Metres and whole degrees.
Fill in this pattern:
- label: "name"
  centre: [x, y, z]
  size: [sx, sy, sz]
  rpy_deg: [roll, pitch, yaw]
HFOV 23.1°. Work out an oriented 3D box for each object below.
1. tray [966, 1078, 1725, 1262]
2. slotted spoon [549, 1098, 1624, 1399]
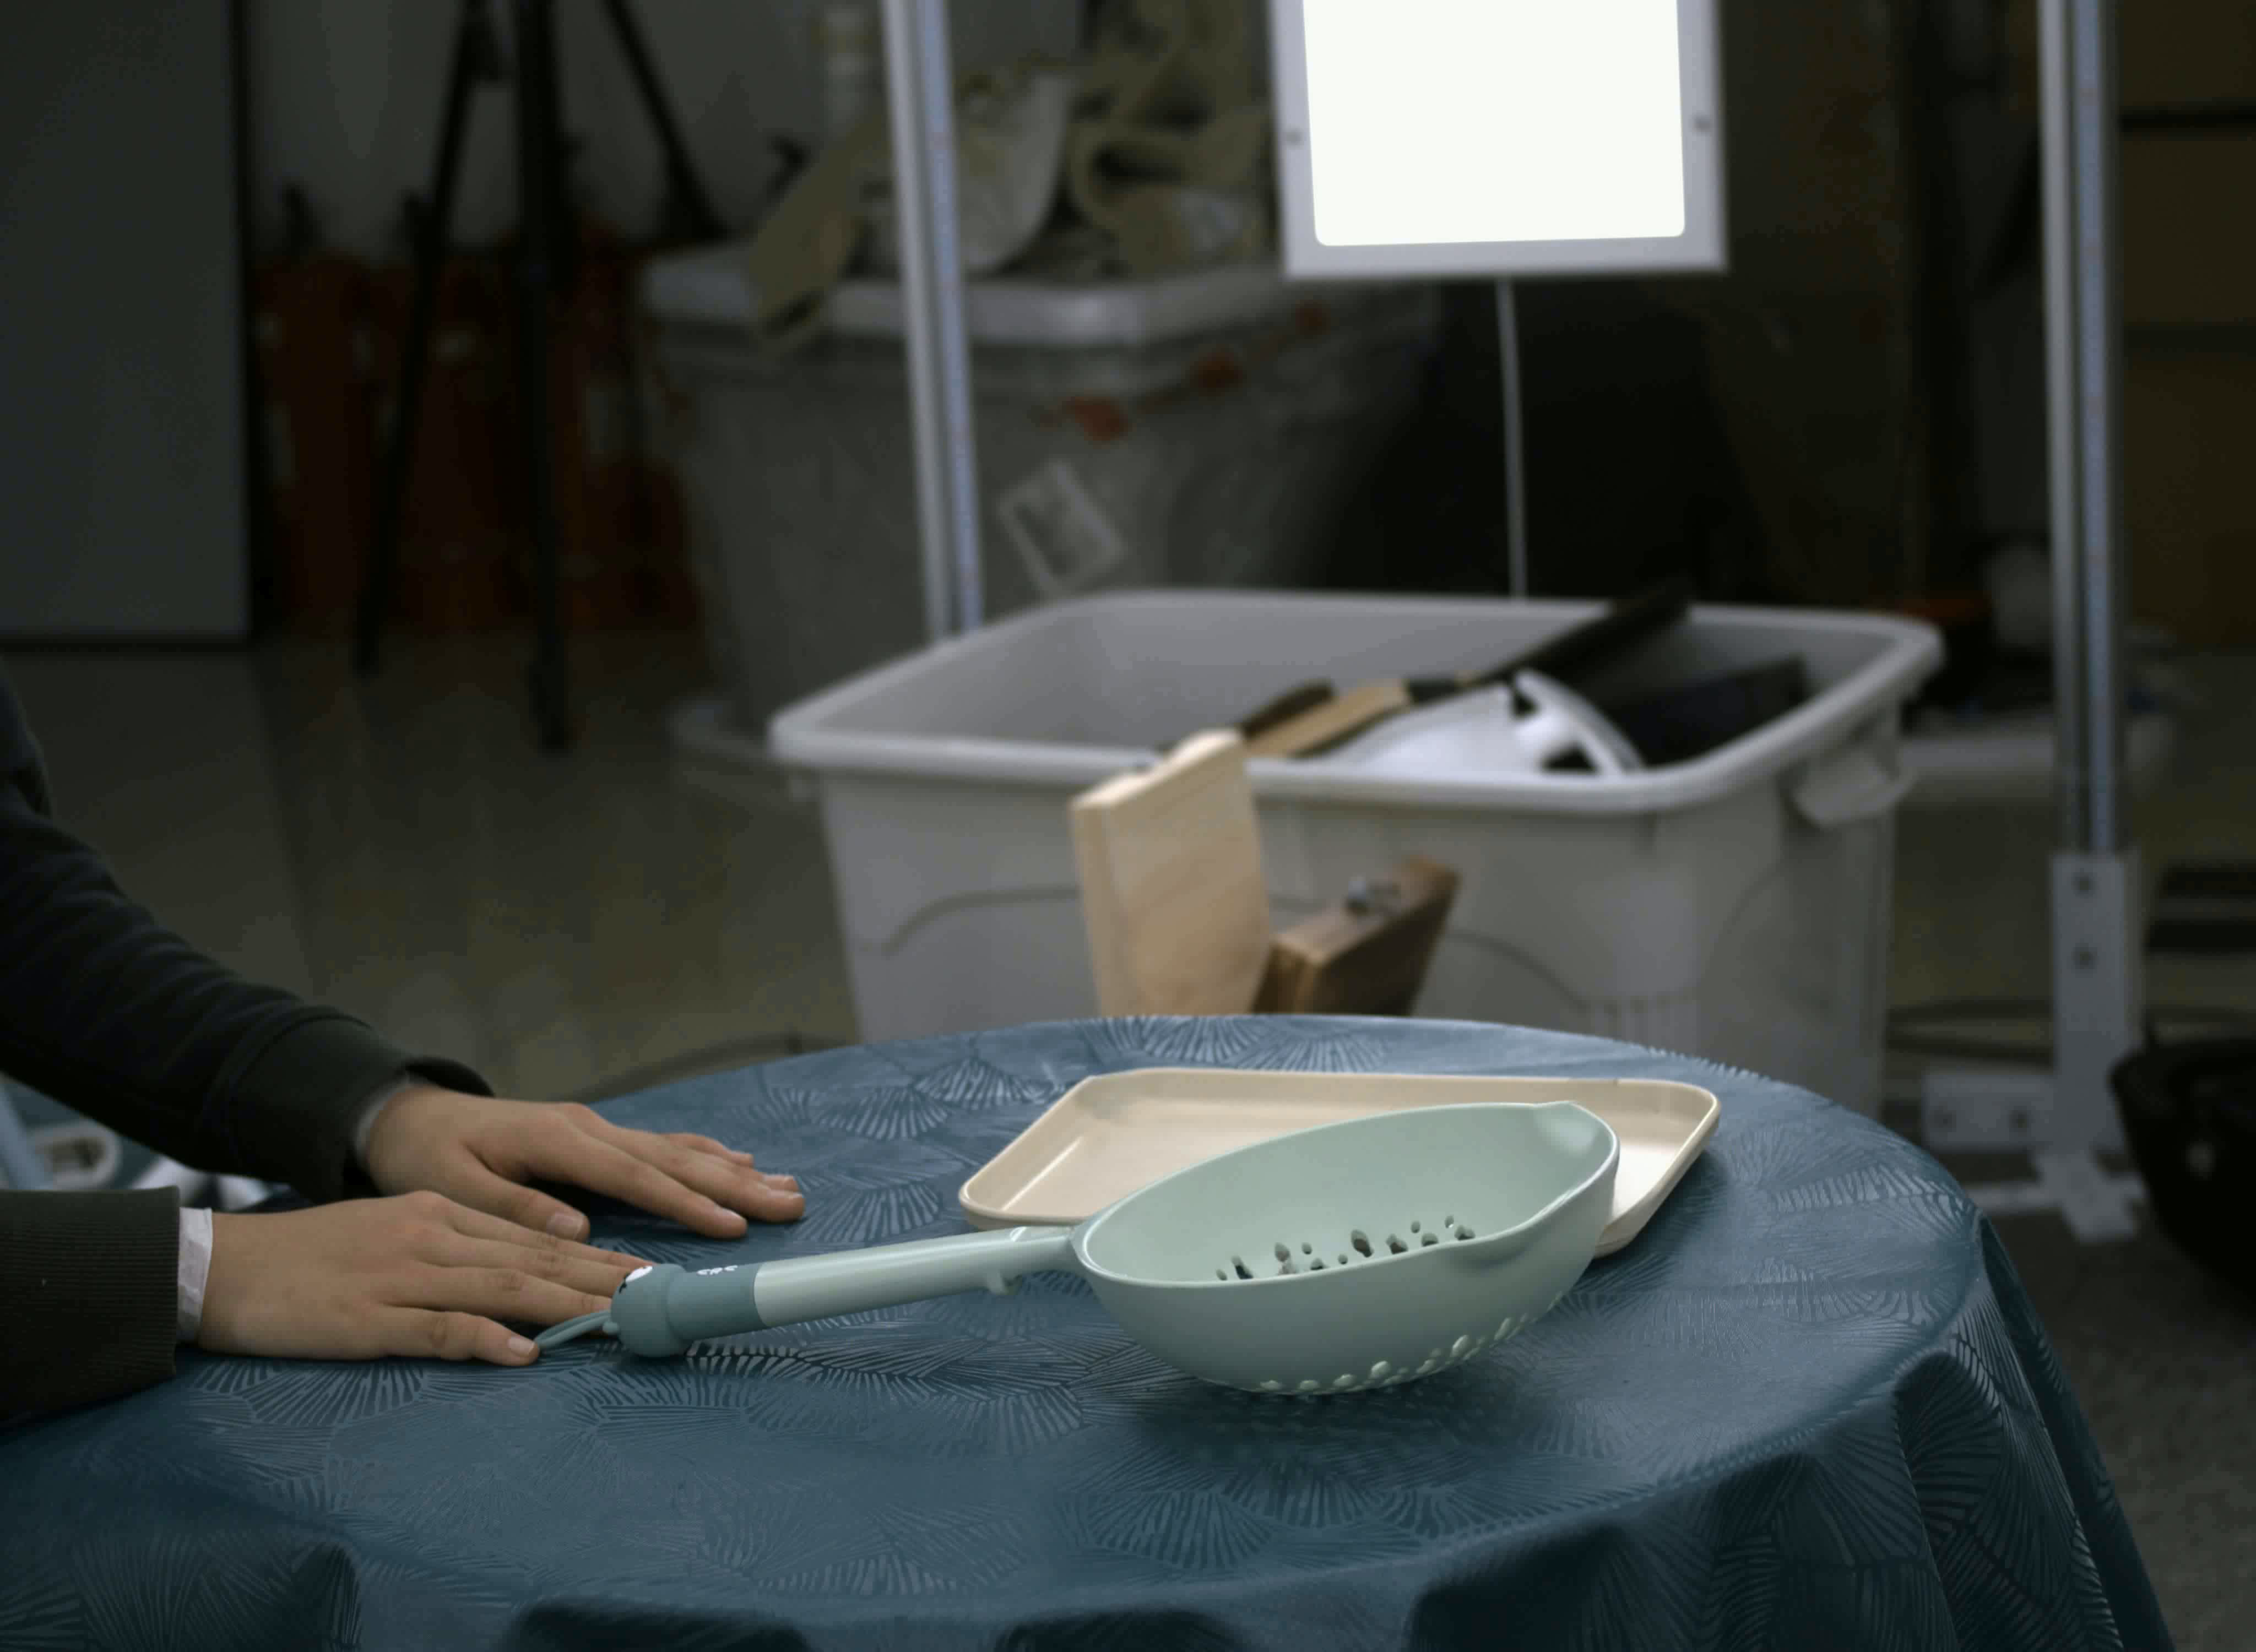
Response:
- label: "tray"
  centre: [0.076, 0.117, 1.874]
  size: [0.243, 0.017, 0.168]
  rpy_deg: [-1, 14, 21]
- label: "slotted spoon"
  centre: [-0.020, 0.138, 1.725]
  size: [0.363, 0.075, 0.166]
  rpy_deg: [-1, 13, 19]
